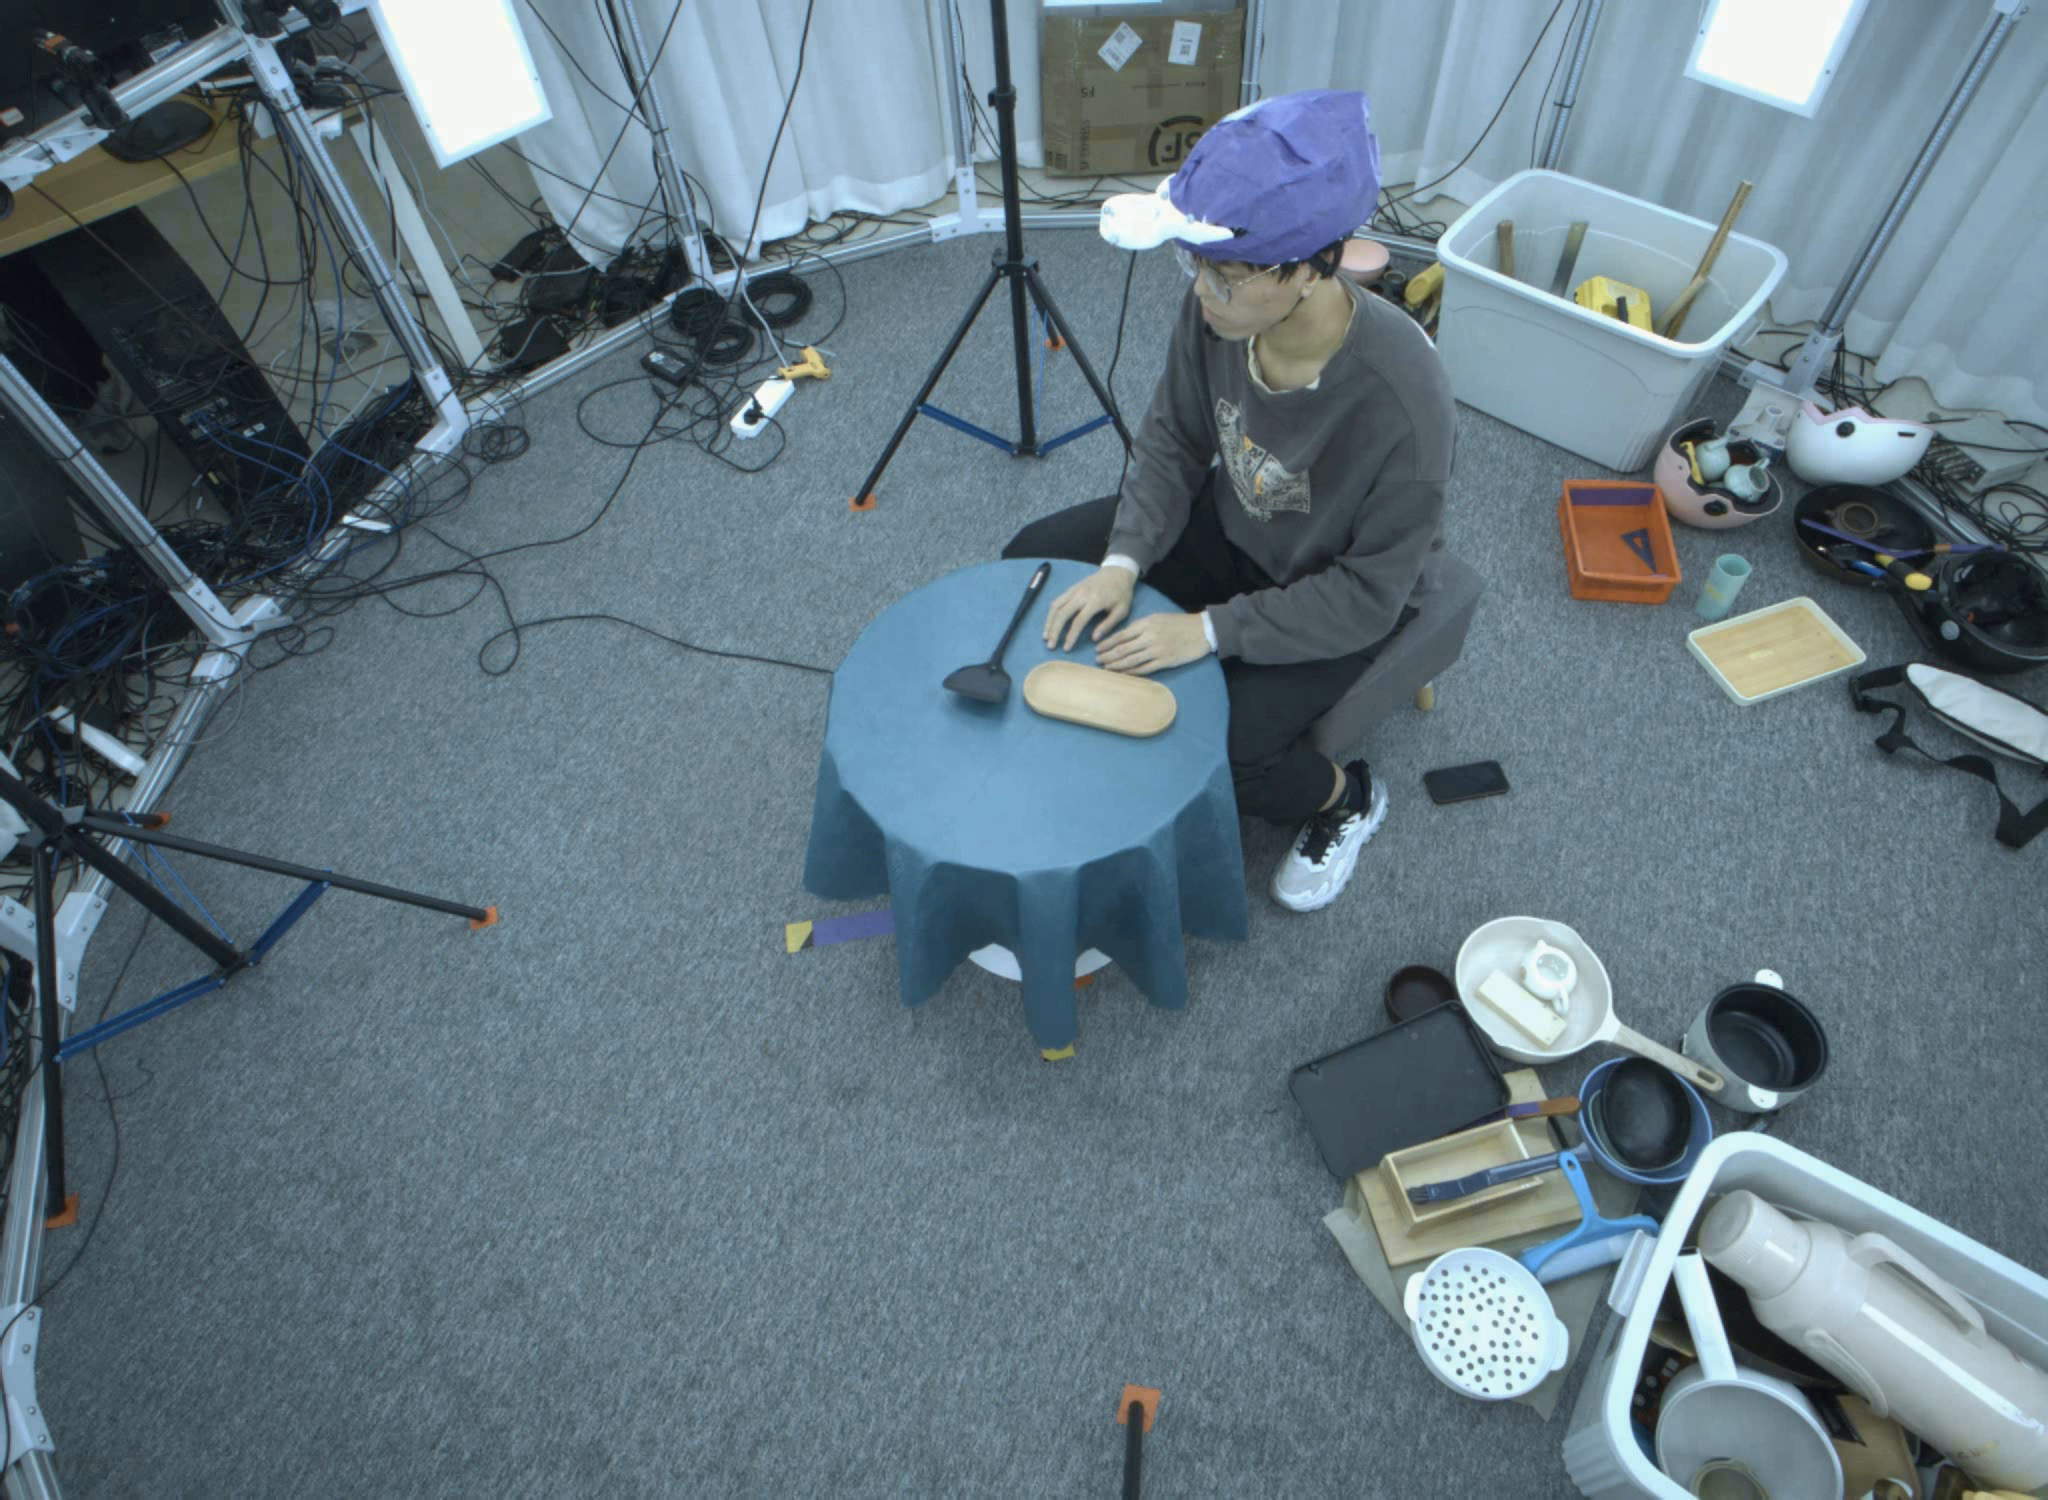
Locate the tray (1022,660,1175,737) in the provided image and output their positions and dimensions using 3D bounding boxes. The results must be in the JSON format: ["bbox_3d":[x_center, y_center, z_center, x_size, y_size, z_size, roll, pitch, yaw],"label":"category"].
[{"bbox_3d":[0.109,-0.076,1.826,0.229,0.020,0.101,13,55,12],"label":"tray"}]

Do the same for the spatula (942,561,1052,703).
[{"bbox_3d":[-0.021,-0.191,1.900,0.099,0.041,0.326,17,57,13],"label":"spatula"}]
